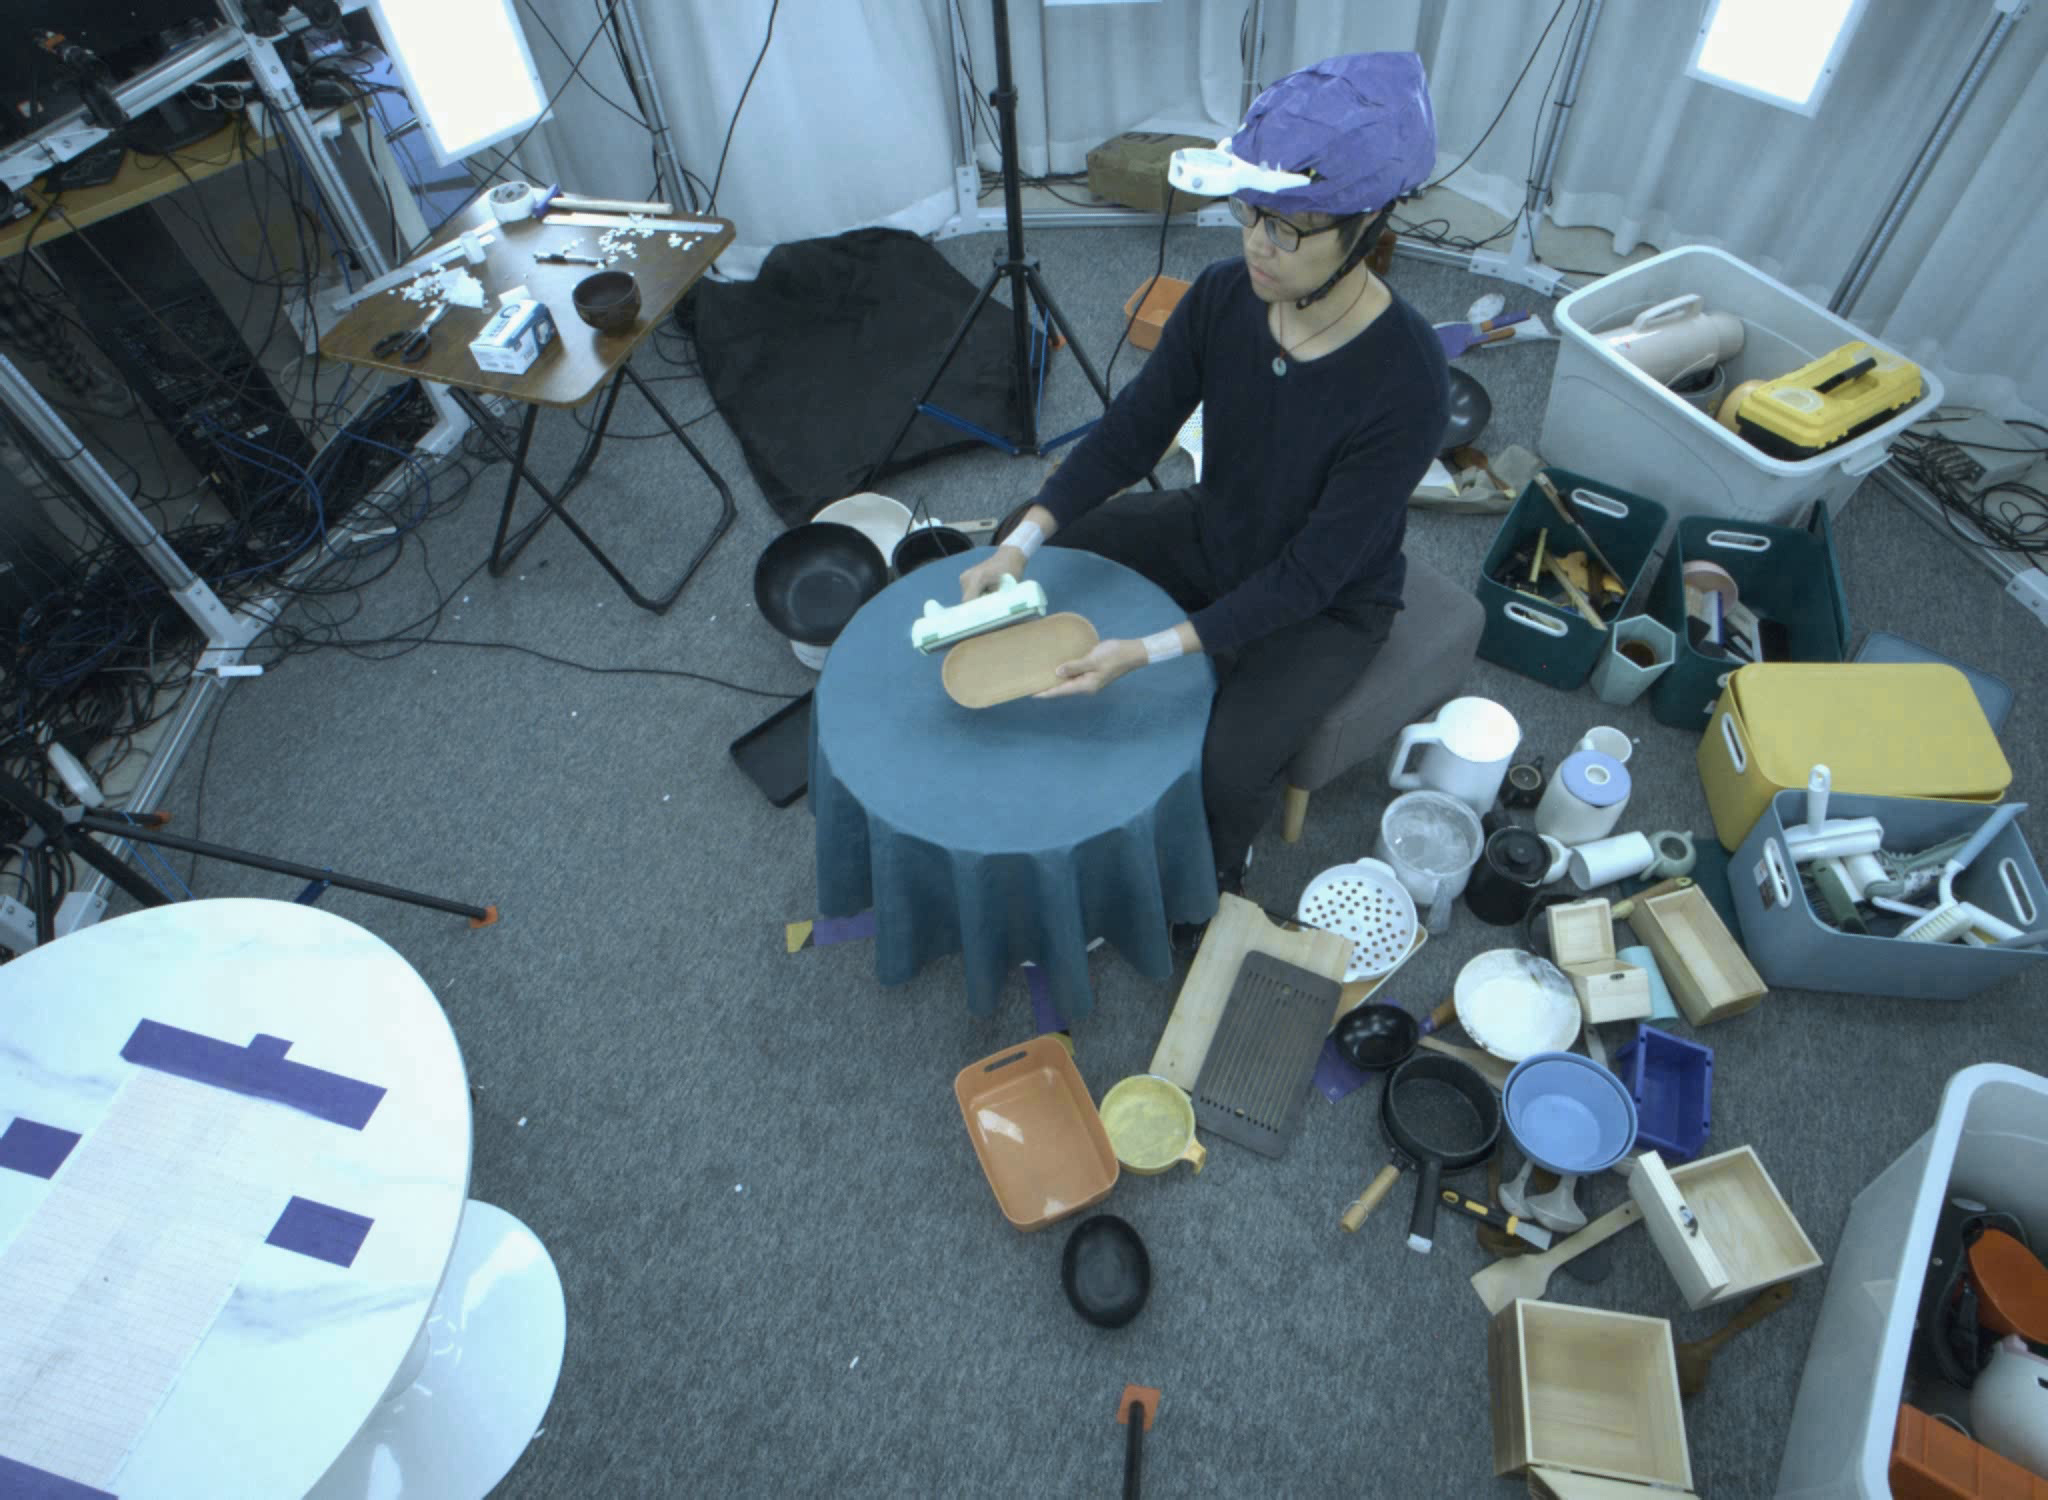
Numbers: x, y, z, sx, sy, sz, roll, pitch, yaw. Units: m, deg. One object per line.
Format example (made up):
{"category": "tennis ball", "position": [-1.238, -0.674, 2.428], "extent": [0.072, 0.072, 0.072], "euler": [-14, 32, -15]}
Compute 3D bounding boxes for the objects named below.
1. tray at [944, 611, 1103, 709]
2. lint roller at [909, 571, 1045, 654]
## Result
{"category": "tray", "position": [-0.001, -0.129, 1.754], "extent": [0.231, 0.020, 0.102], "euler": [-17, 94, -2]}
{"category": "lint roller", "position": [-0.070, -0.231, 1.788], "extent": [0.197, 0.084, 0.181], "euler": [-17, 37, 14]}
